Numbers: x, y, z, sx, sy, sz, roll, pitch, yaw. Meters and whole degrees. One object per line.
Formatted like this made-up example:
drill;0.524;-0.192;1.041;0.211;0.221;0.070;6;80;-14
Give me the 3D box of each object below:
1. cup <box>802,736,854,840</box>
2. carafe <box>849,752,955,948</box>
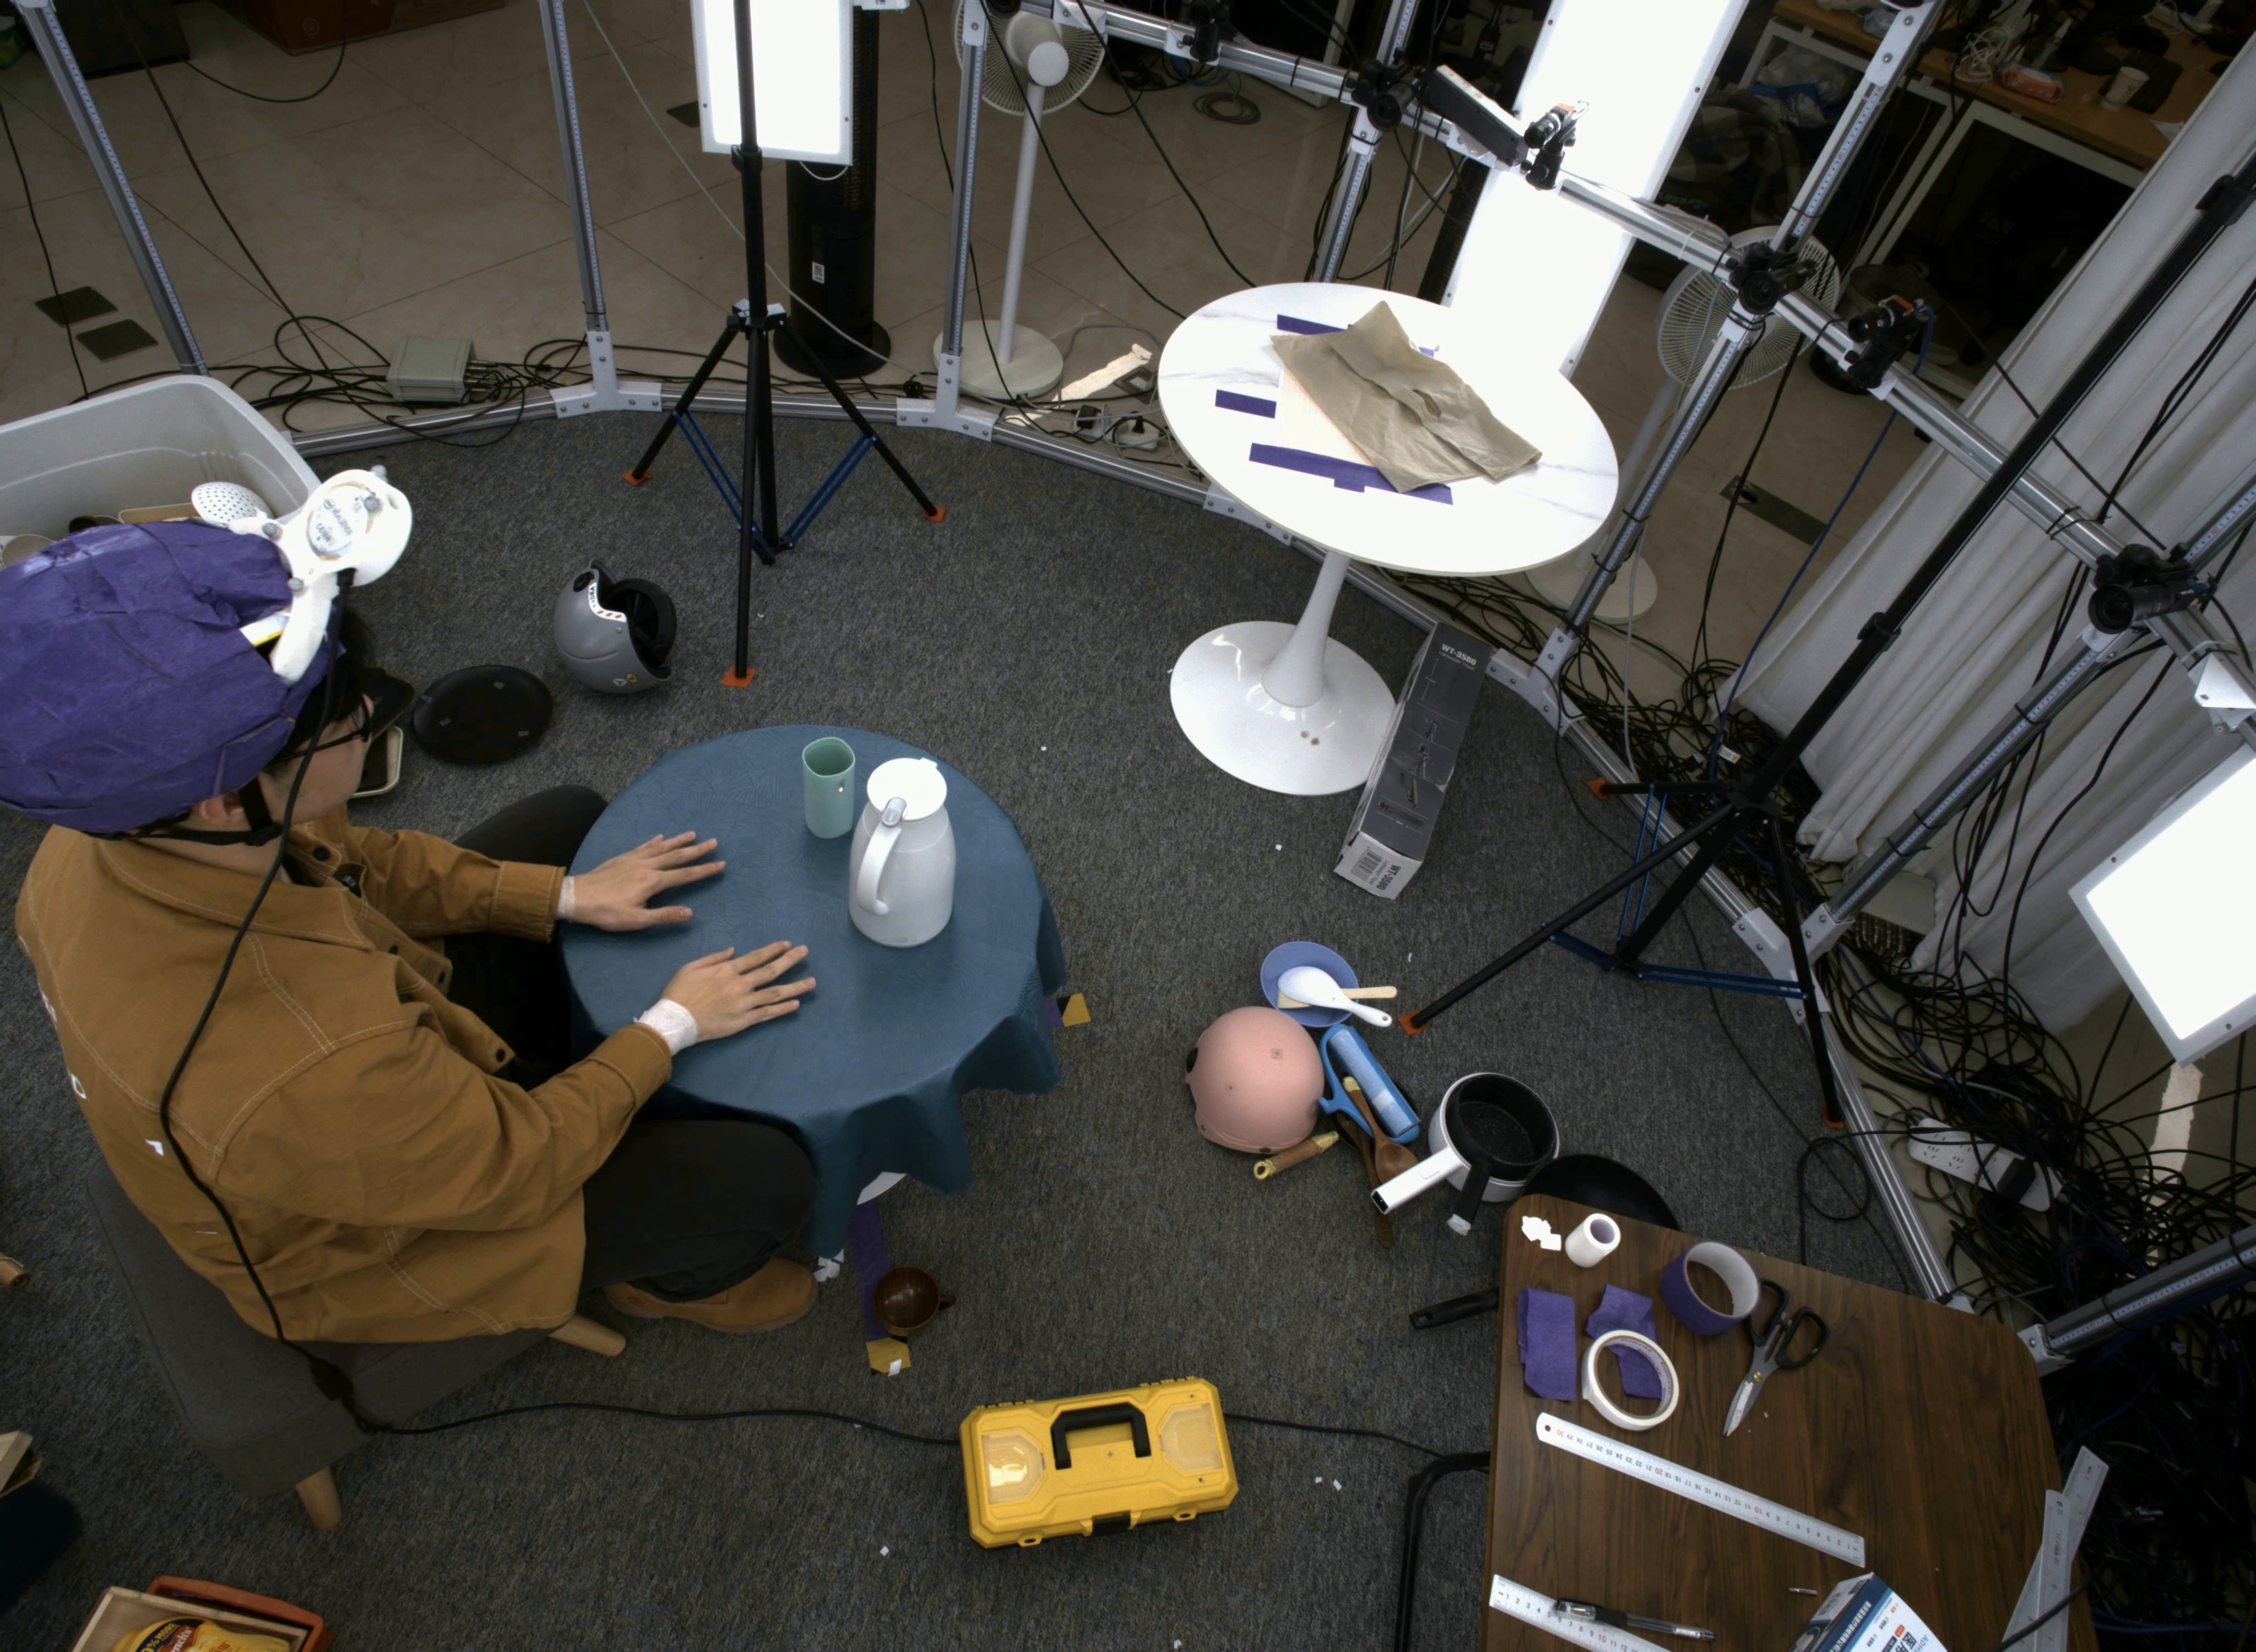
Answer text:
cup;-0.390;-0.048;1.686;0.066;0.135;0.065;7;51;-7
carafe;-0.279;0.037;1.571;0.131;0.254;0.166;20;52;4
